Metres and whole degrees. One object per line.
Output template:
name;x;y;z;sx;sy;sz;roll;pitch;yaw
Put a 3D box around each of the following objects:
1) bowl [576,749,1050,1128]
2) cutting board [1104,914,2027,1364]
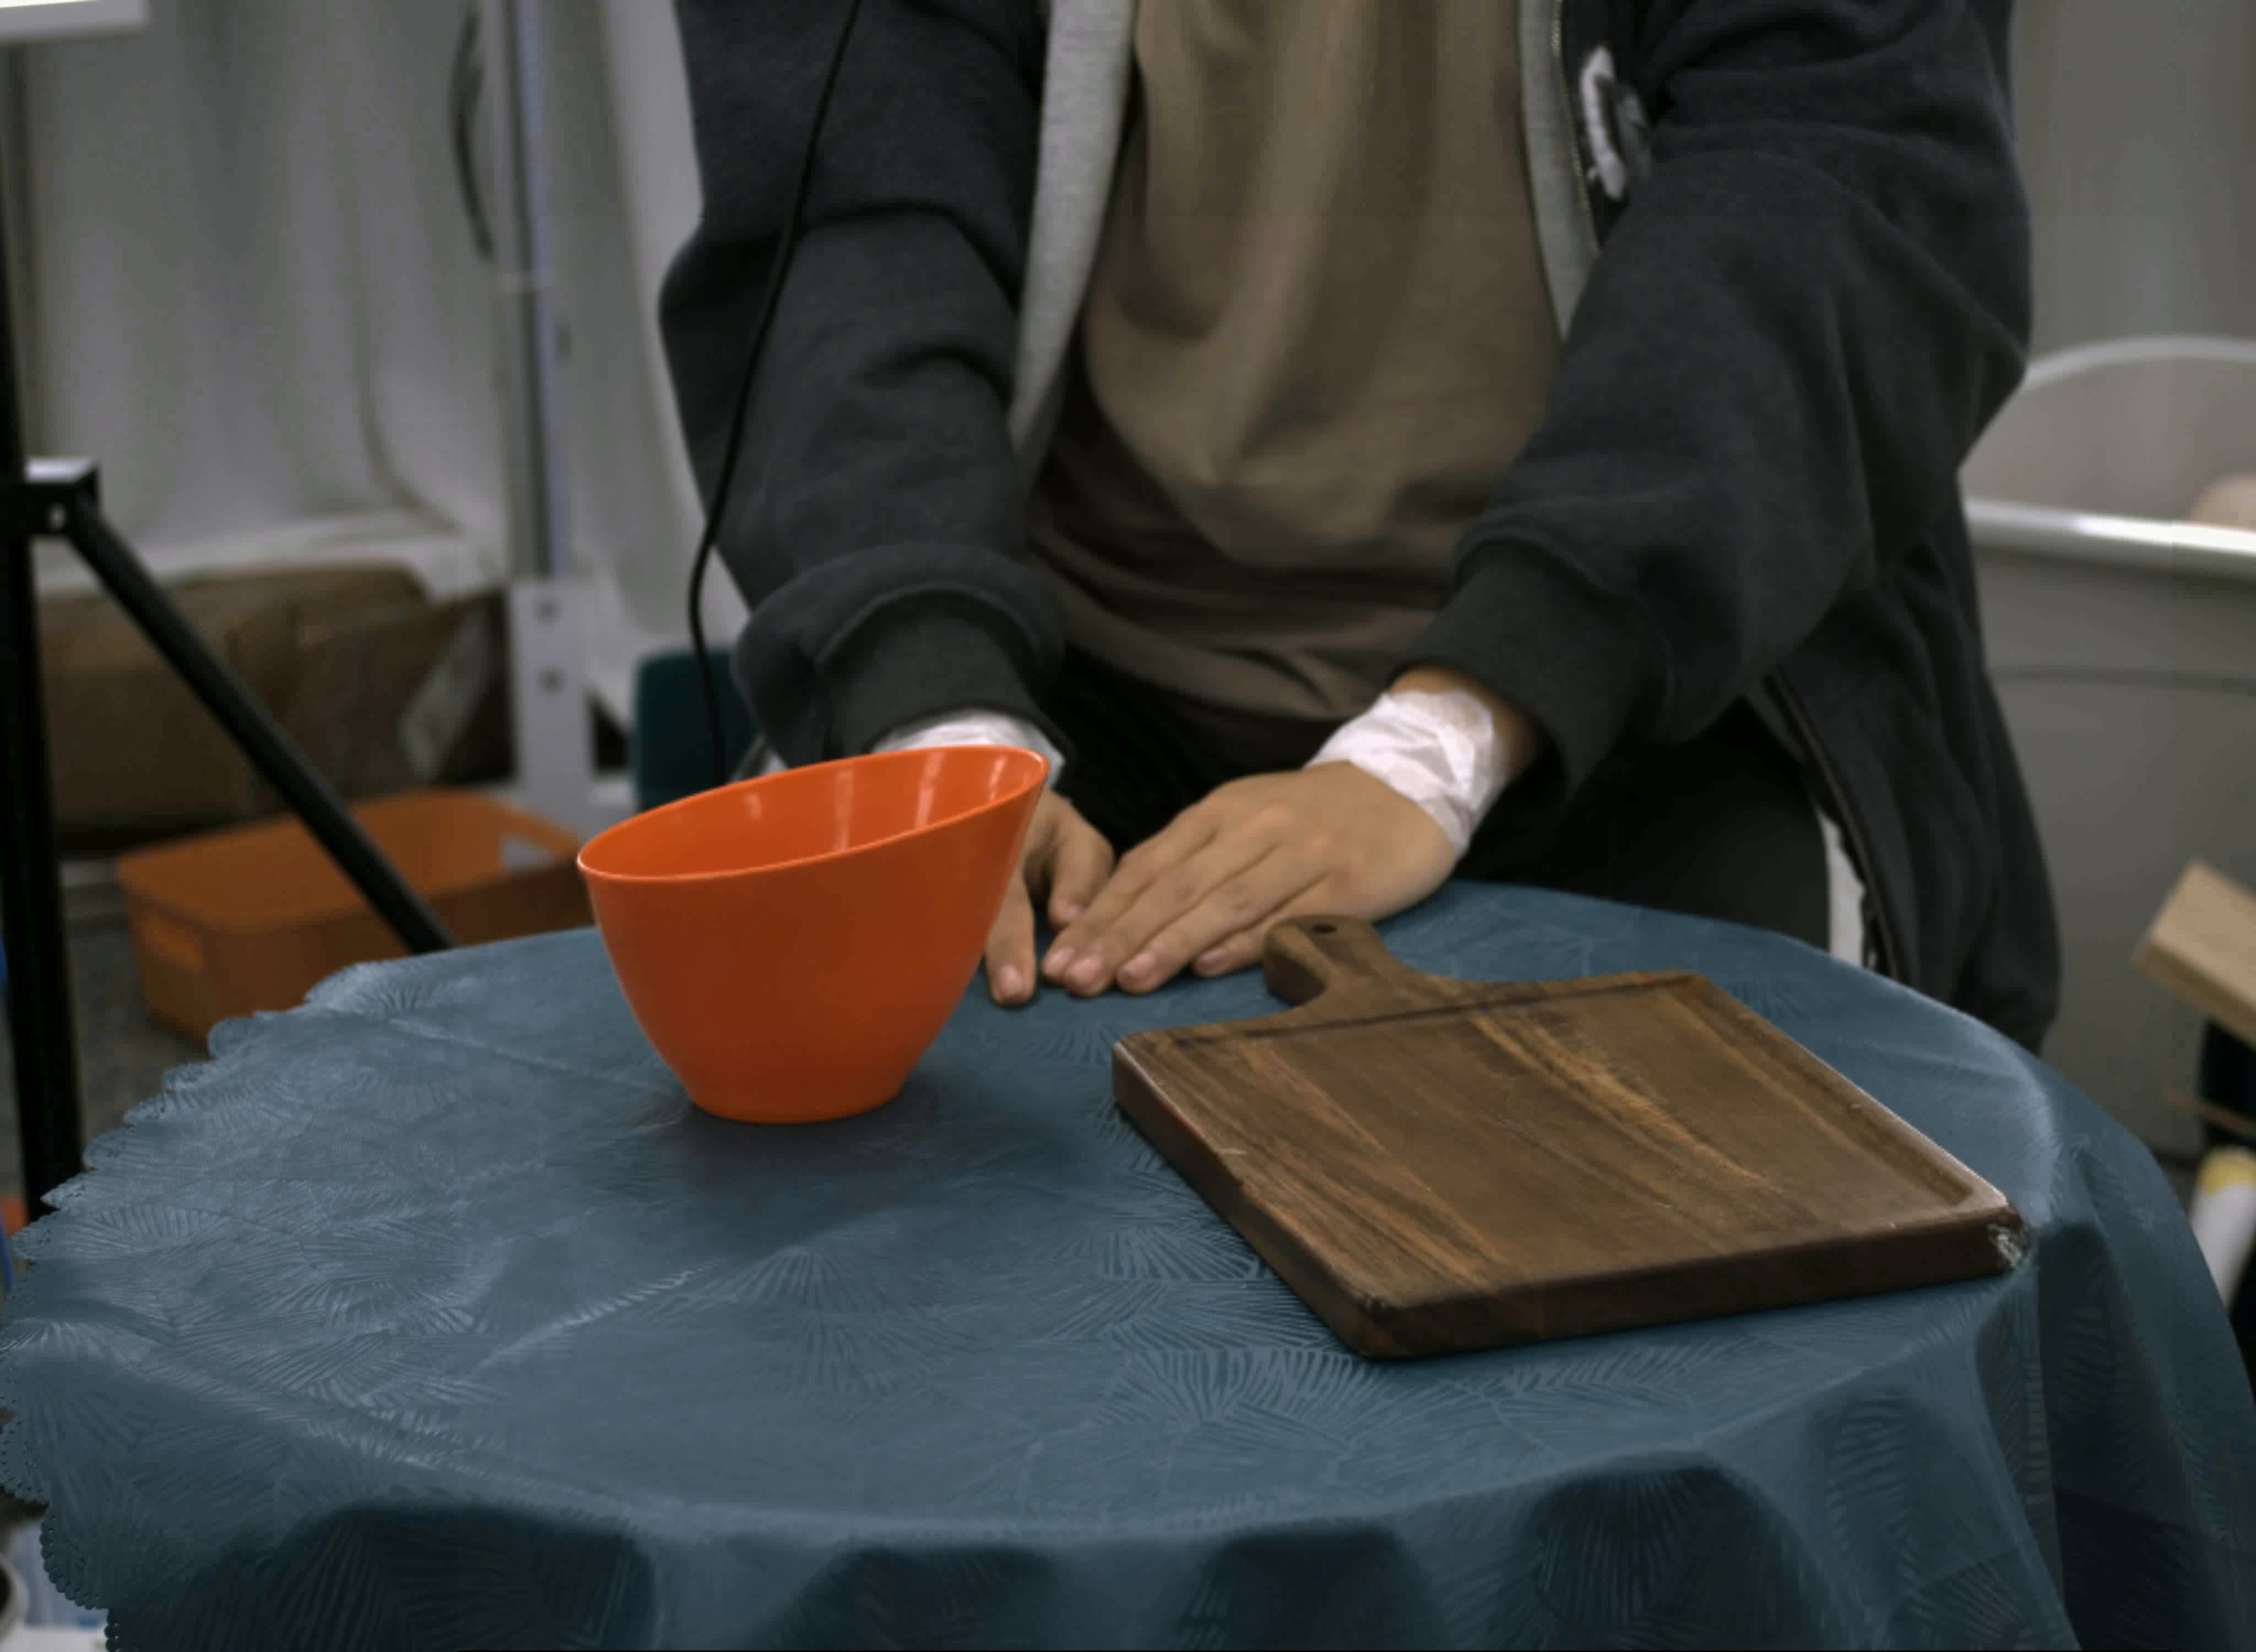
bowl;-0.096;0.035;1.648;0.147;0.104;0.149;-3;16;-1
cutting board;0.108;0.082;1.596;0.198;0.023;0.357;-7;16;-15
